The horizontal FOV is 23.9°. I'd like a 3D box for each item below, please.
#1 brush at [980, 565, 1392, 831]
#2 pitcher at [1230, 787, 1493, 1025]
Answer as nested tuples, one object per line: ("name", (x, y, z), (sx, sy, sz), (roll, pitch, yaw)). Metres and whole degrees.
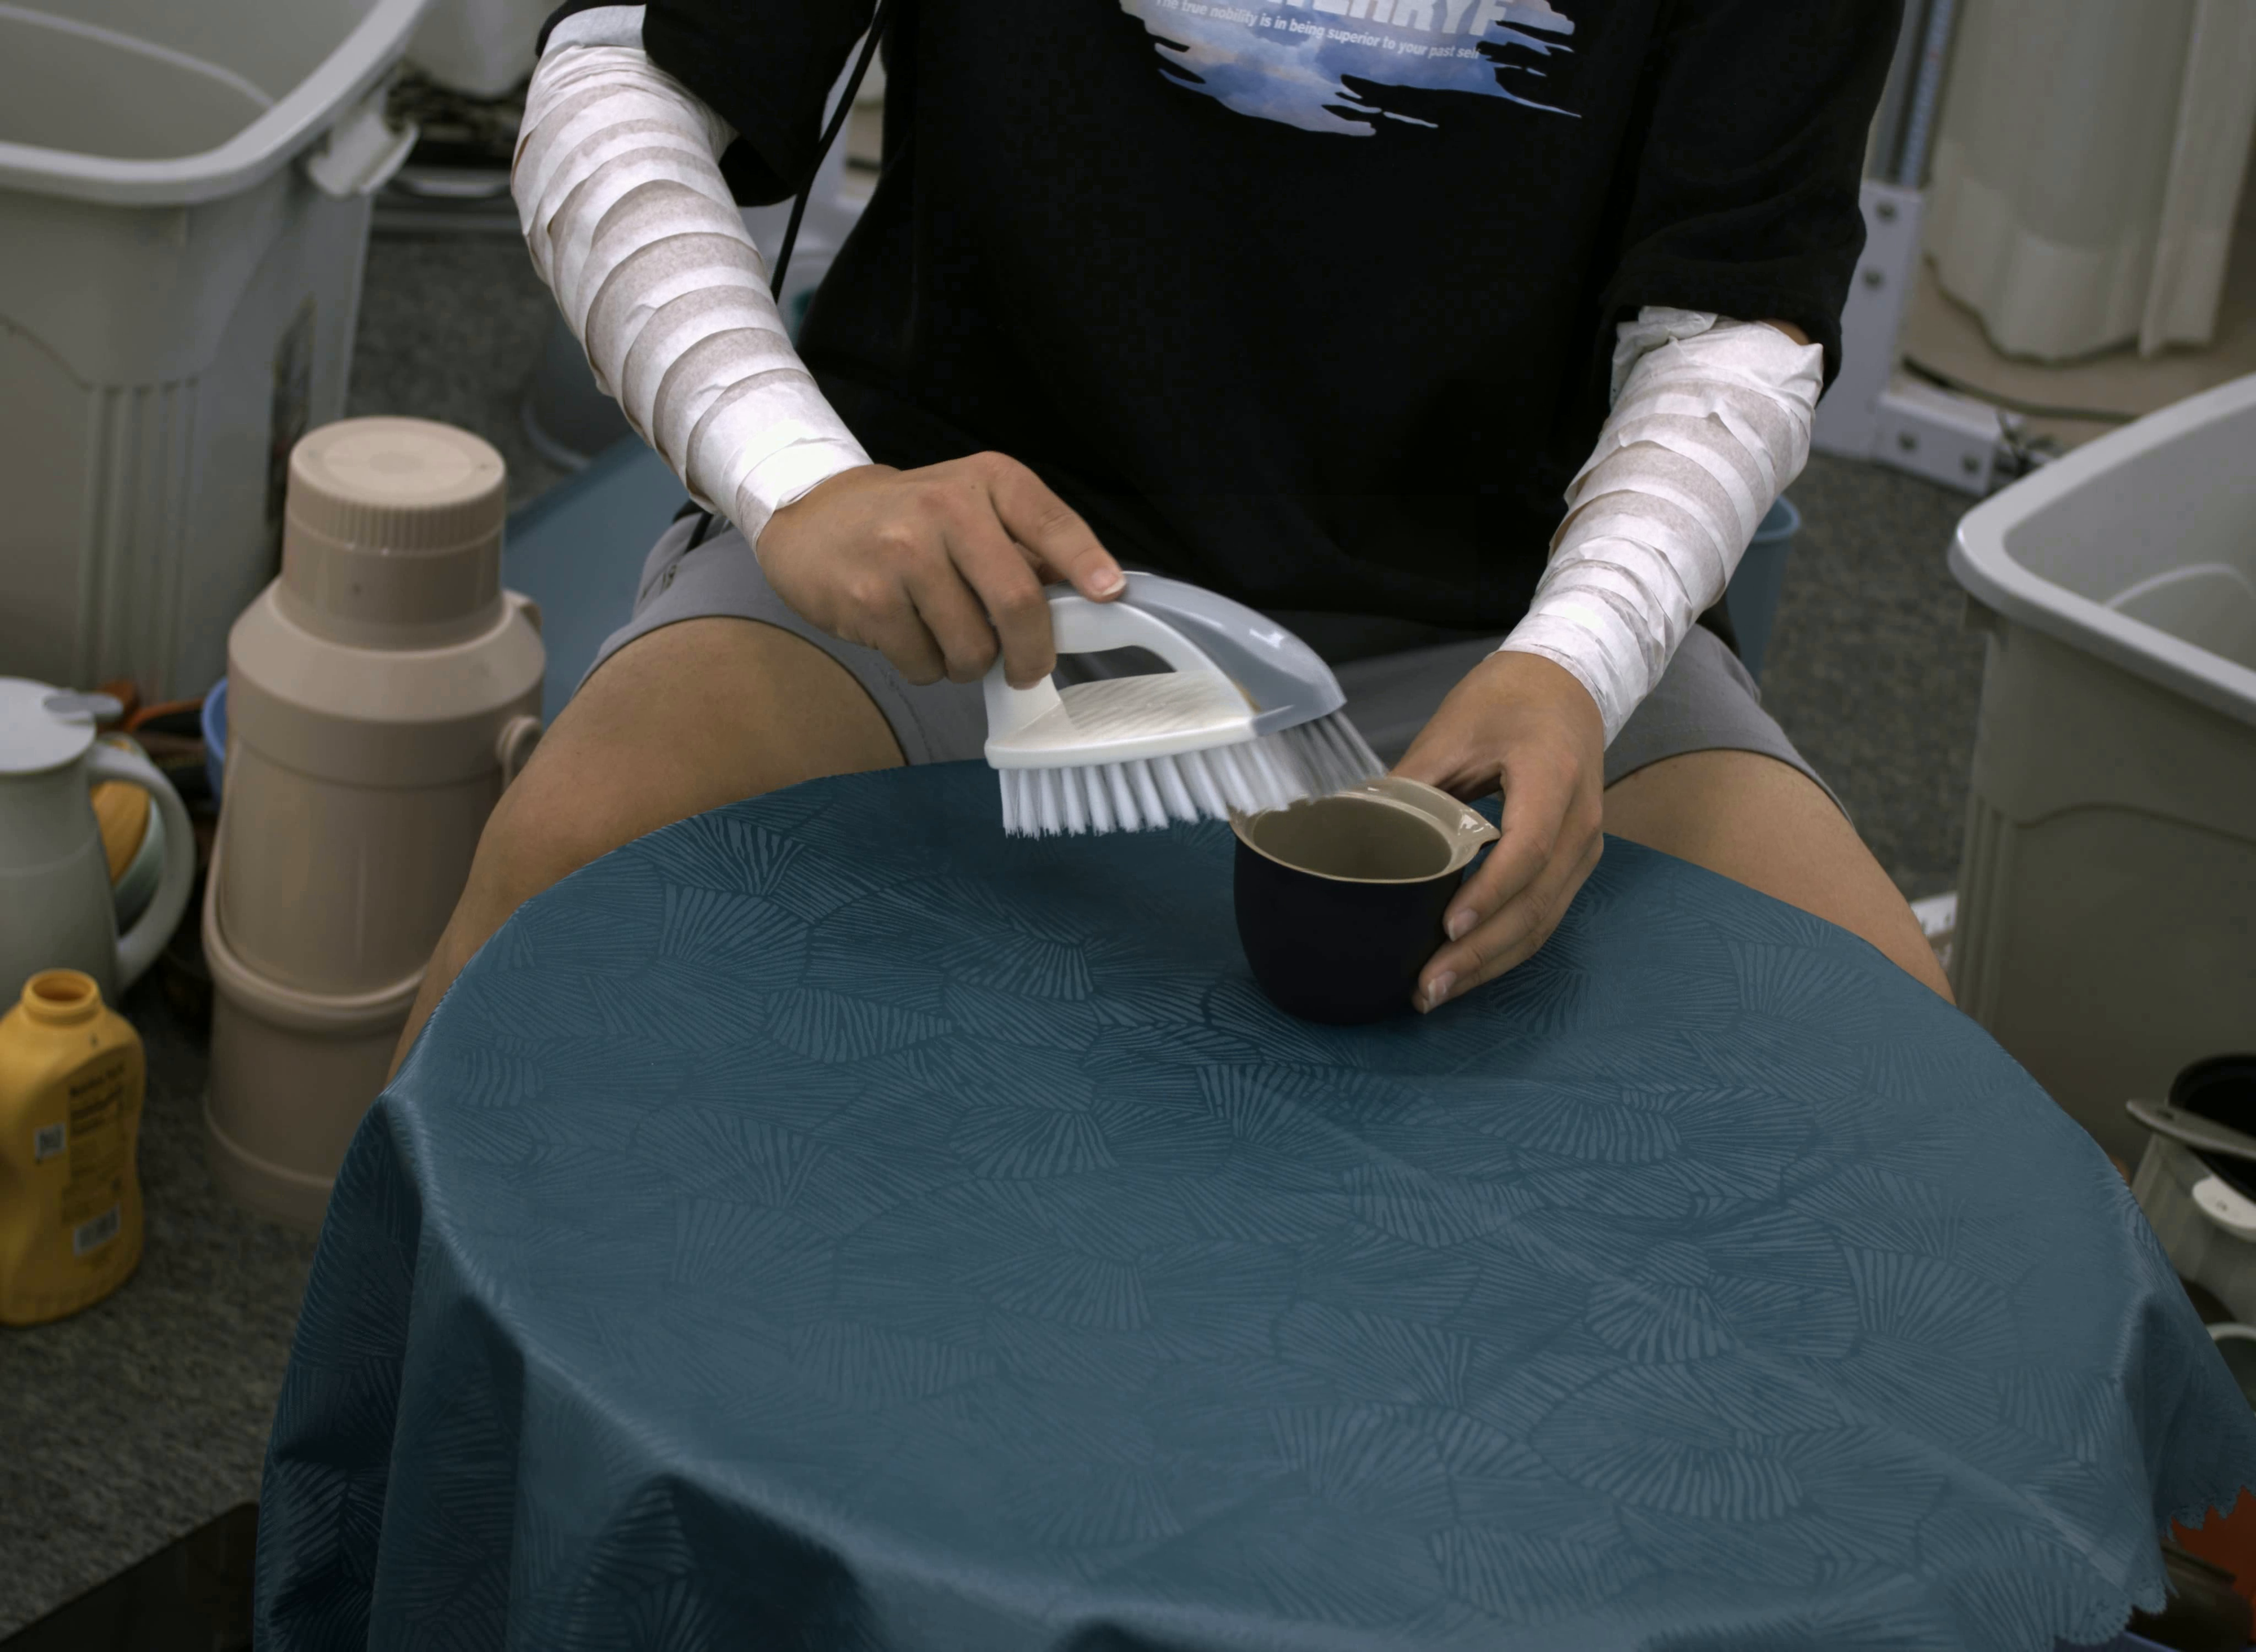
("brush", (0.015, -0.052, 1.929), (0.176, 0.094, 0.061), (0, 31, 45))
("pitcher", (0.081, 0.030, 1.928), (0.095, 0.071, 0.084), (3, 25, -14))
